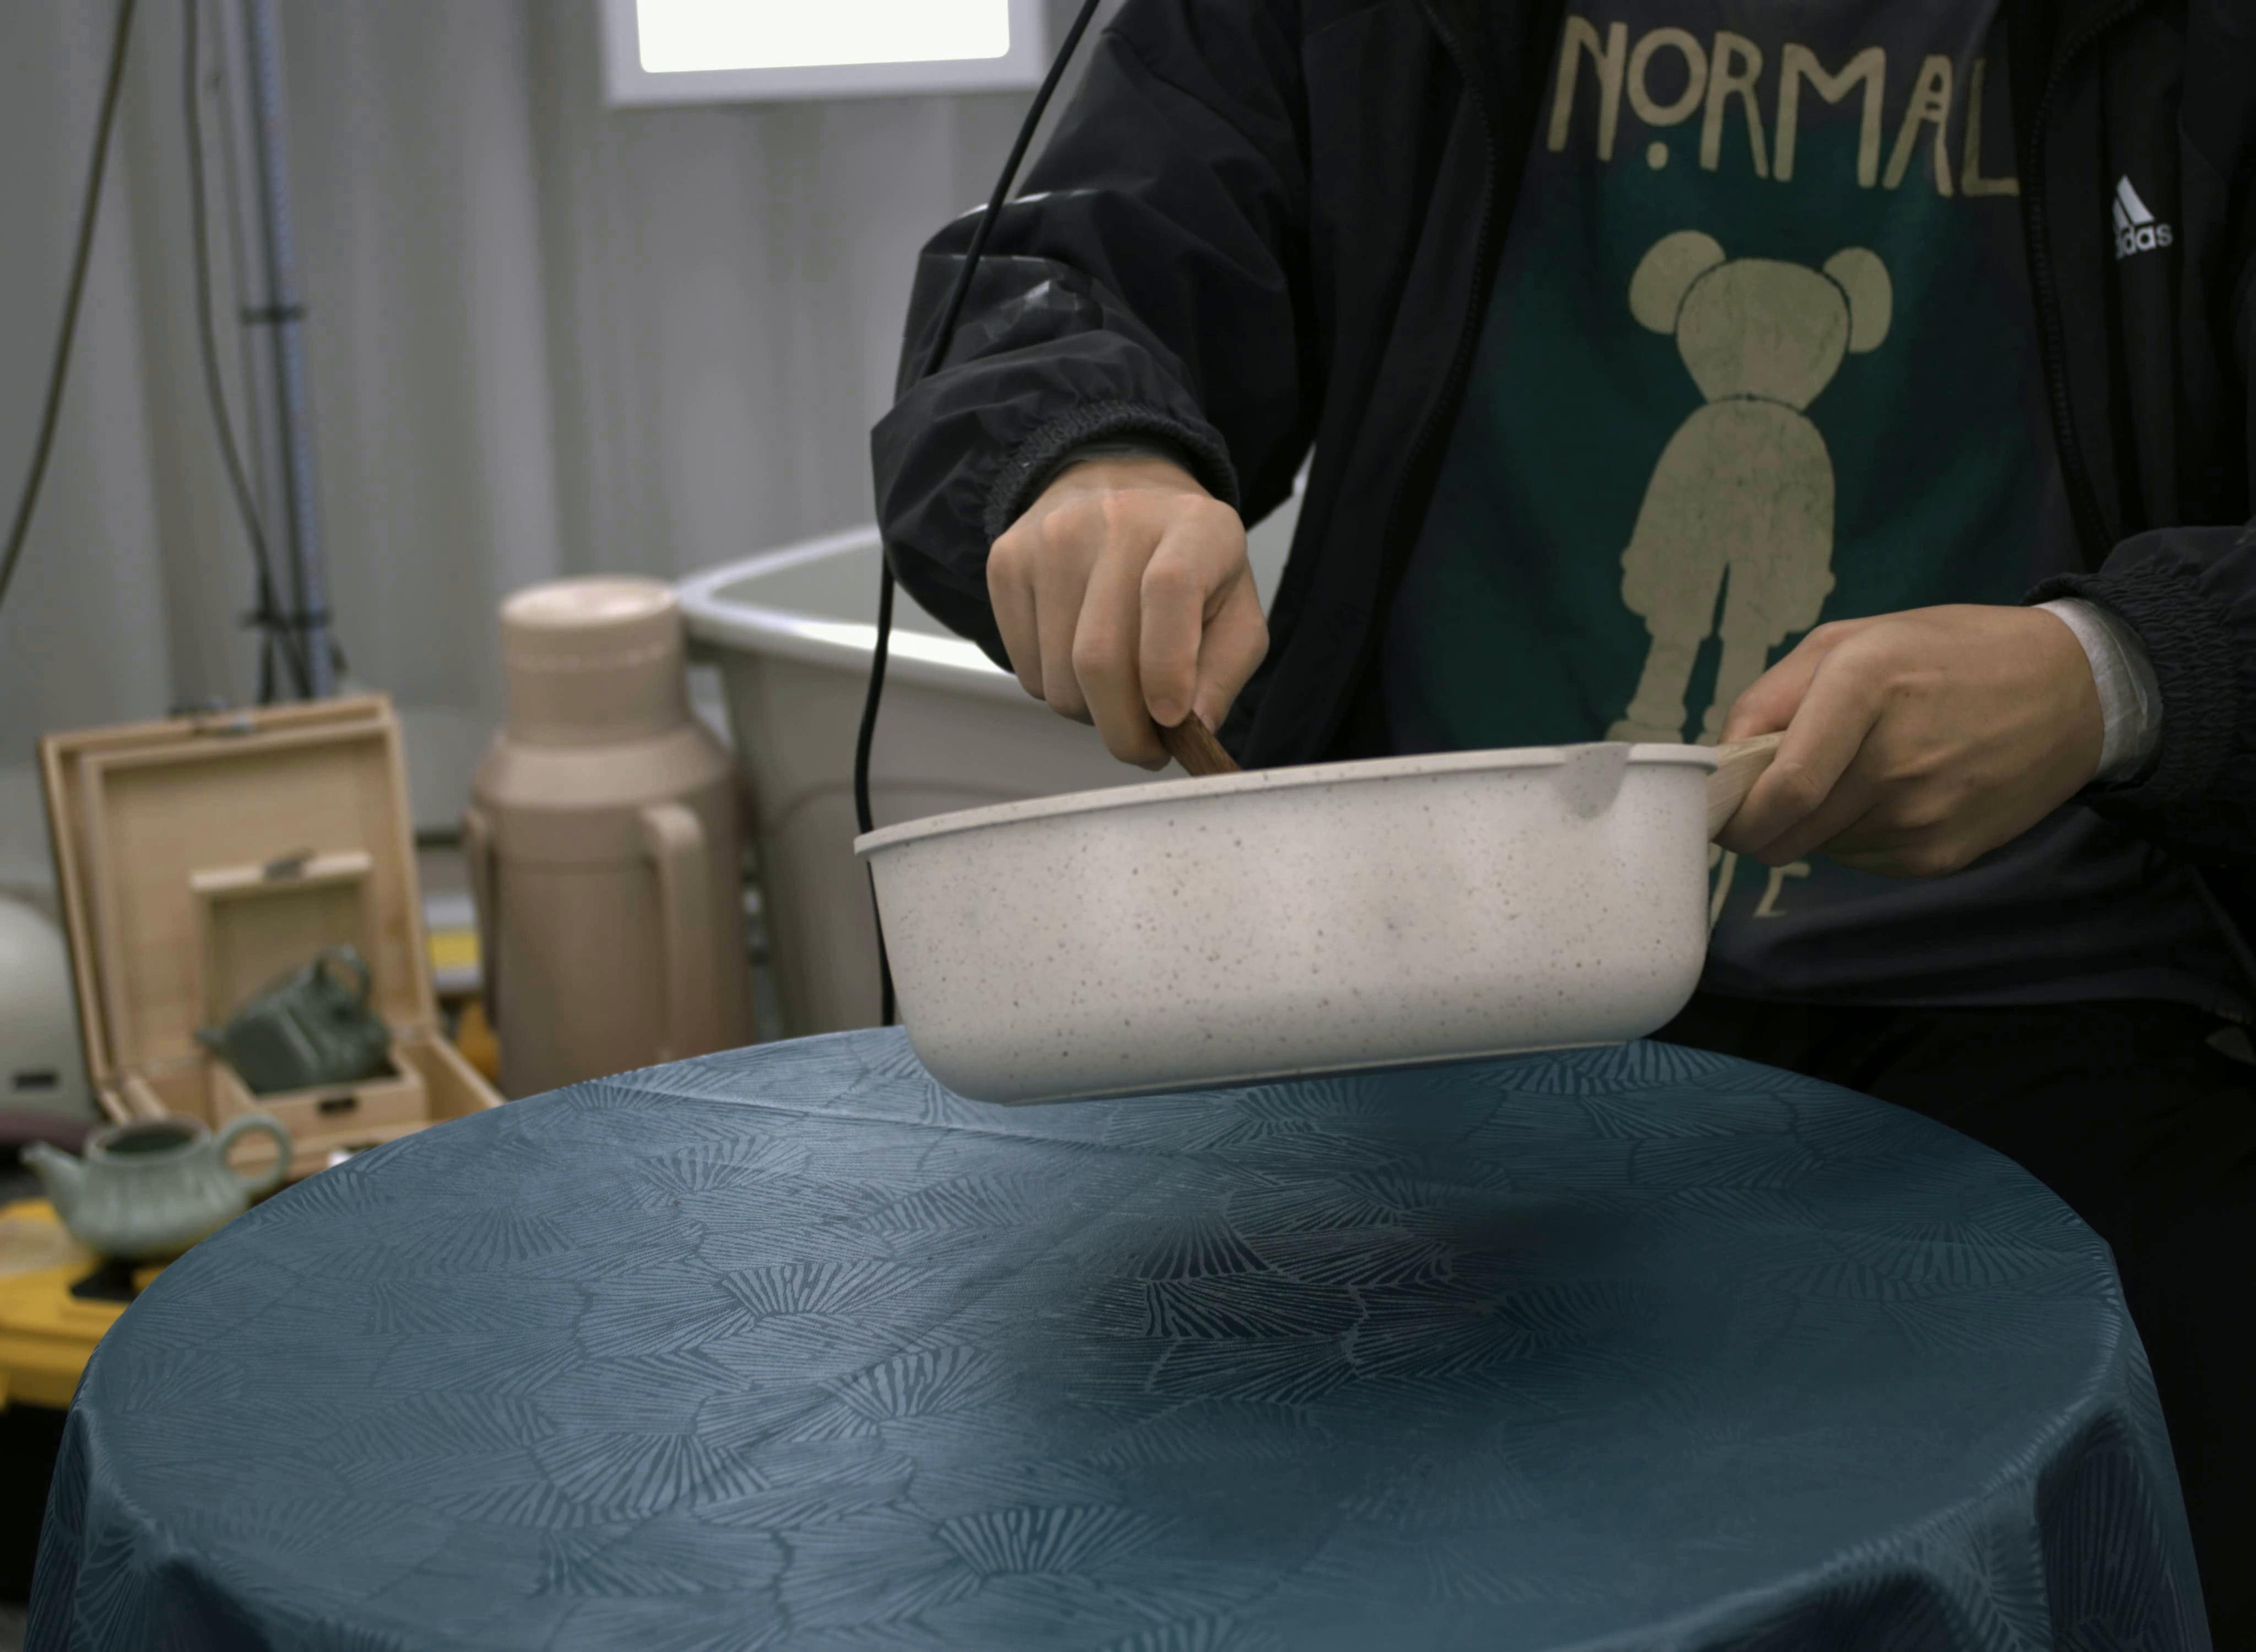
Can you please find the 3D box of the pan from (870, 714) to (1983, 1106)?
[{"bbox_3d":[0.121,0.020,1.638,0.432,0.102,0.263,-2,-7,-42],"label":"pan"}]

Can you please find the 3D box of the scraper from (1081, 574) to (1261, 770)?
[{"bbox_3d":[0.031,-0.016,1.686,0.011,0.075,0.214,-16,39,-20],"label":"scraper"}]
